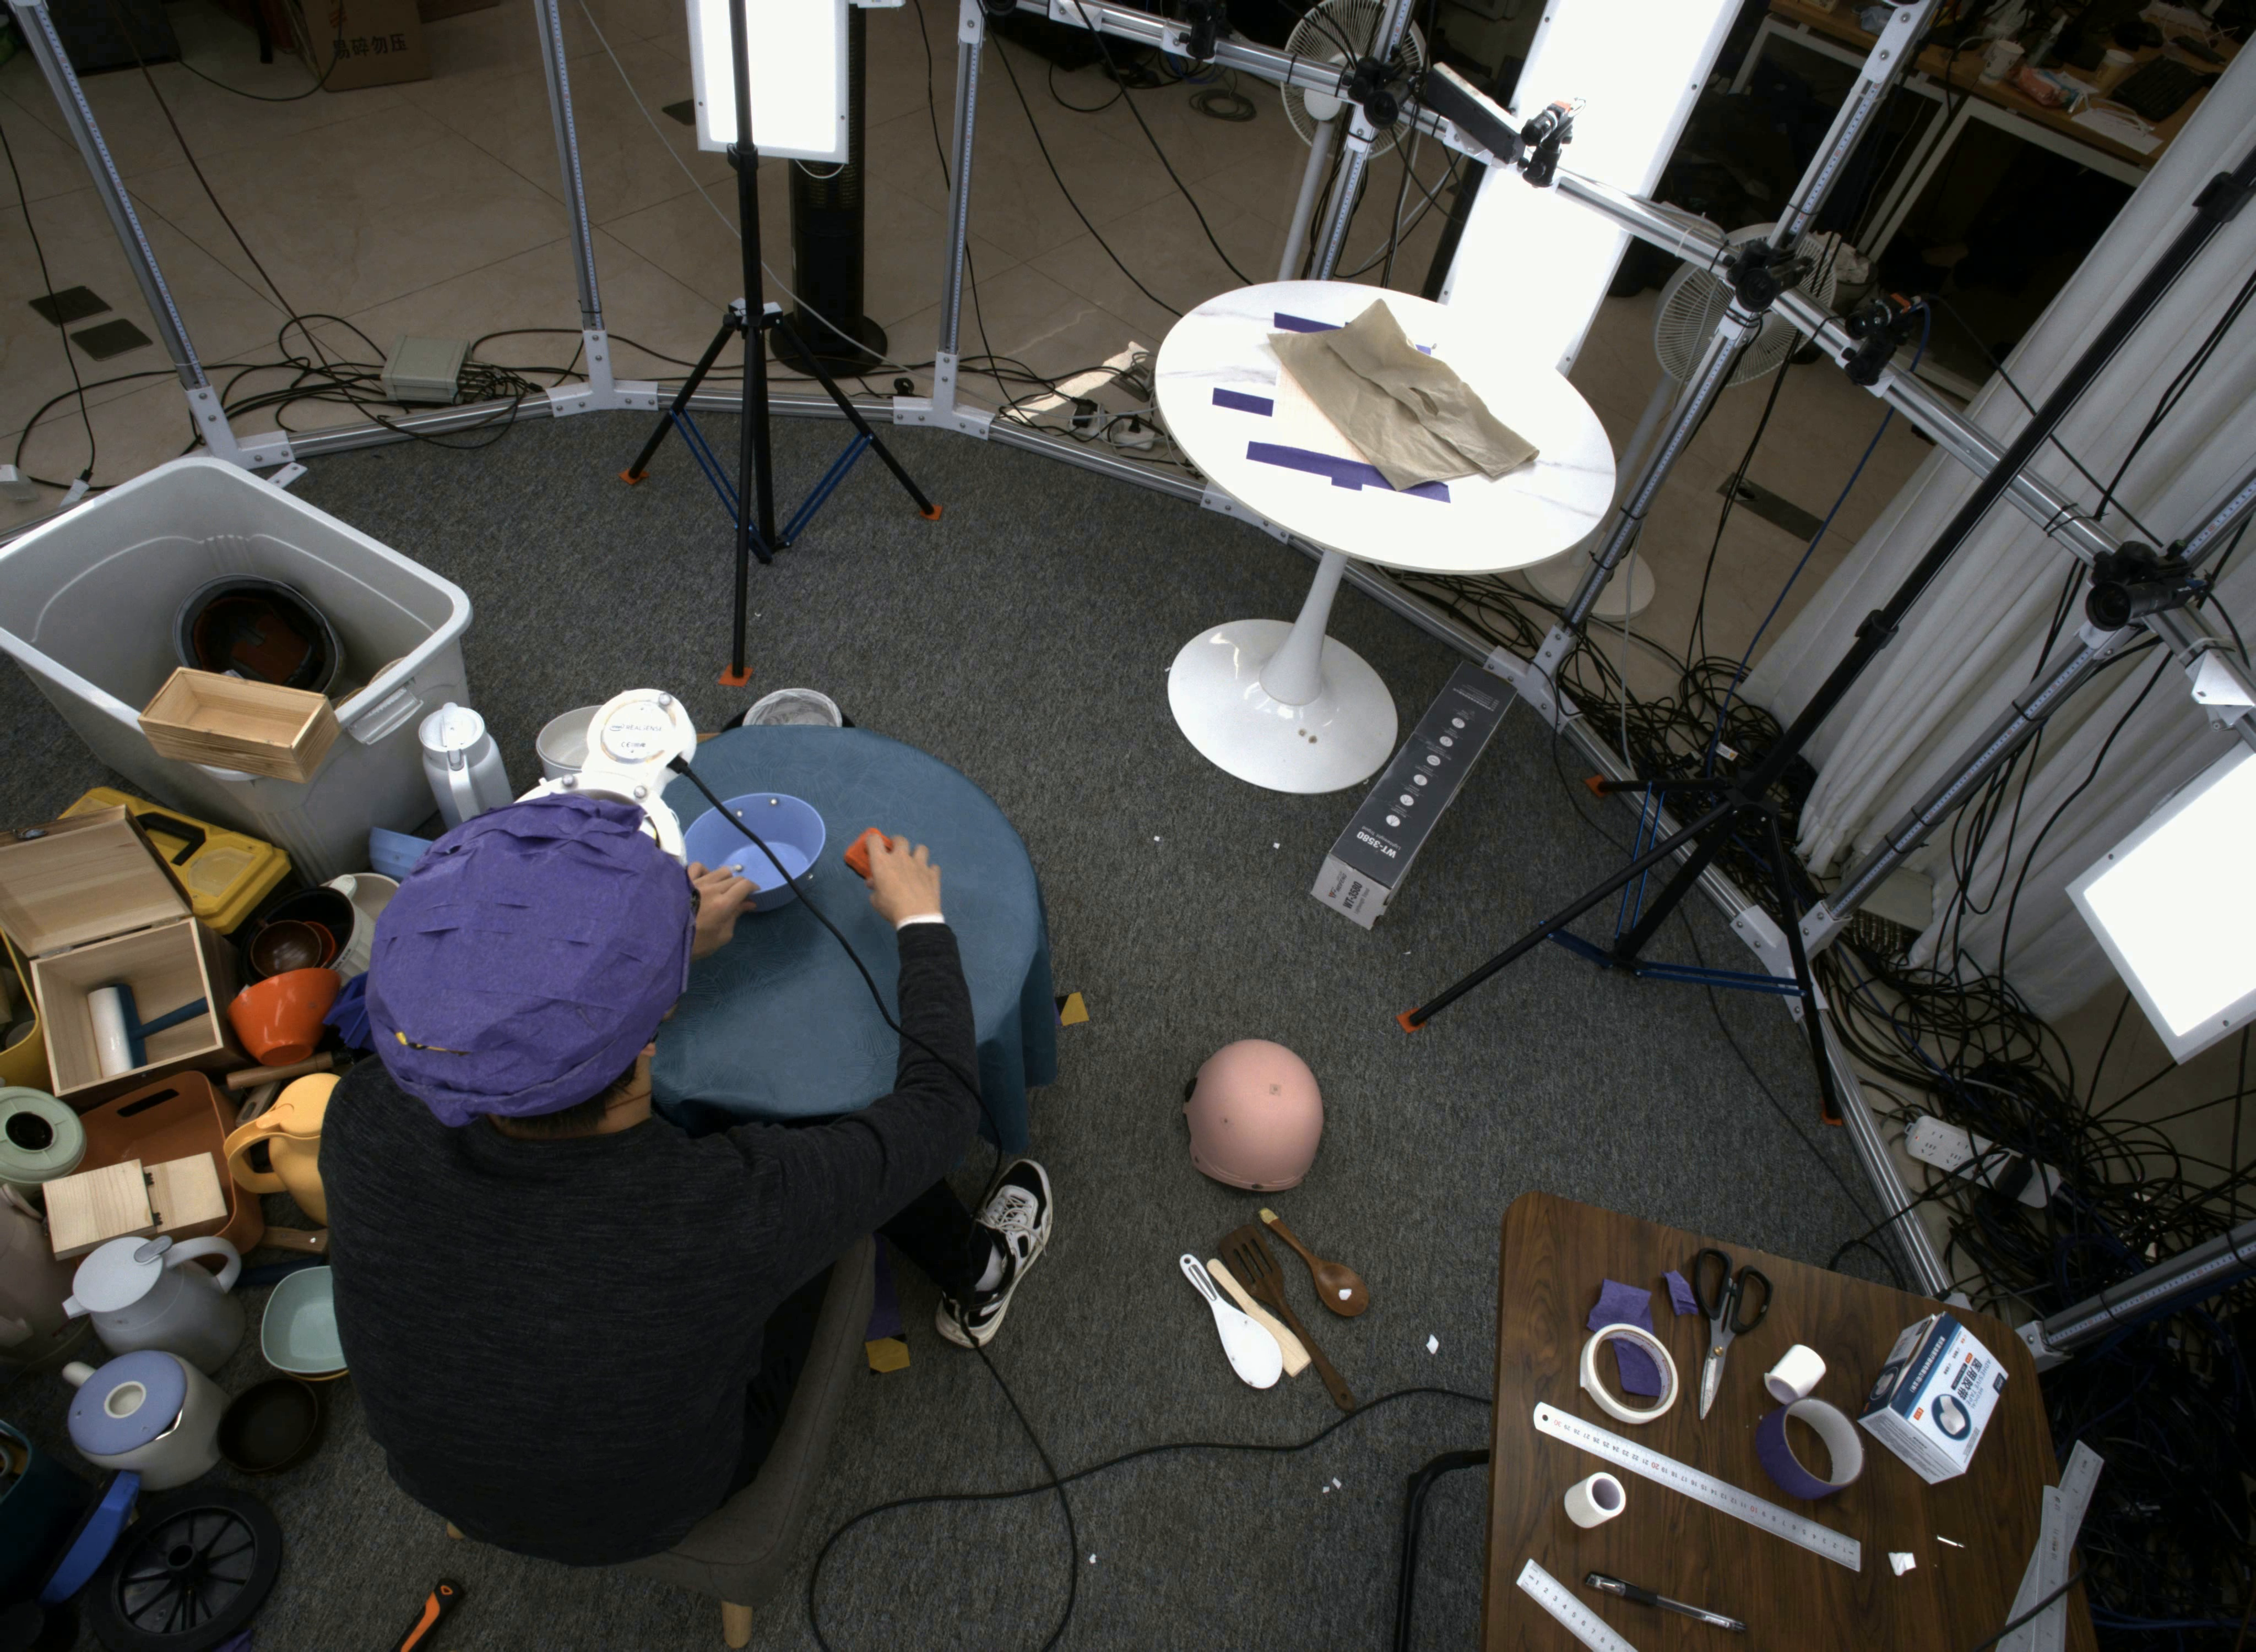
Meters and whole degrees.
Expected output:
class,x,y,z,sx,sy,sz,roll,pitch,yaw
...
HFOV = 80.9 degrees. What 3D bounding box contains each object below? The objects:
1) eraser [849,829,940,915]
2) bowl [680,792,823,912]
class,x,y,z,sx,sy,sz,roll,pitch,yaw
eraser,-0.287,0.055,1.601,0.108,0.023,0.059,40,48,-3
bowl,-0.460,0.040,1.602,0.174,0.072,0.172,2,45,0
